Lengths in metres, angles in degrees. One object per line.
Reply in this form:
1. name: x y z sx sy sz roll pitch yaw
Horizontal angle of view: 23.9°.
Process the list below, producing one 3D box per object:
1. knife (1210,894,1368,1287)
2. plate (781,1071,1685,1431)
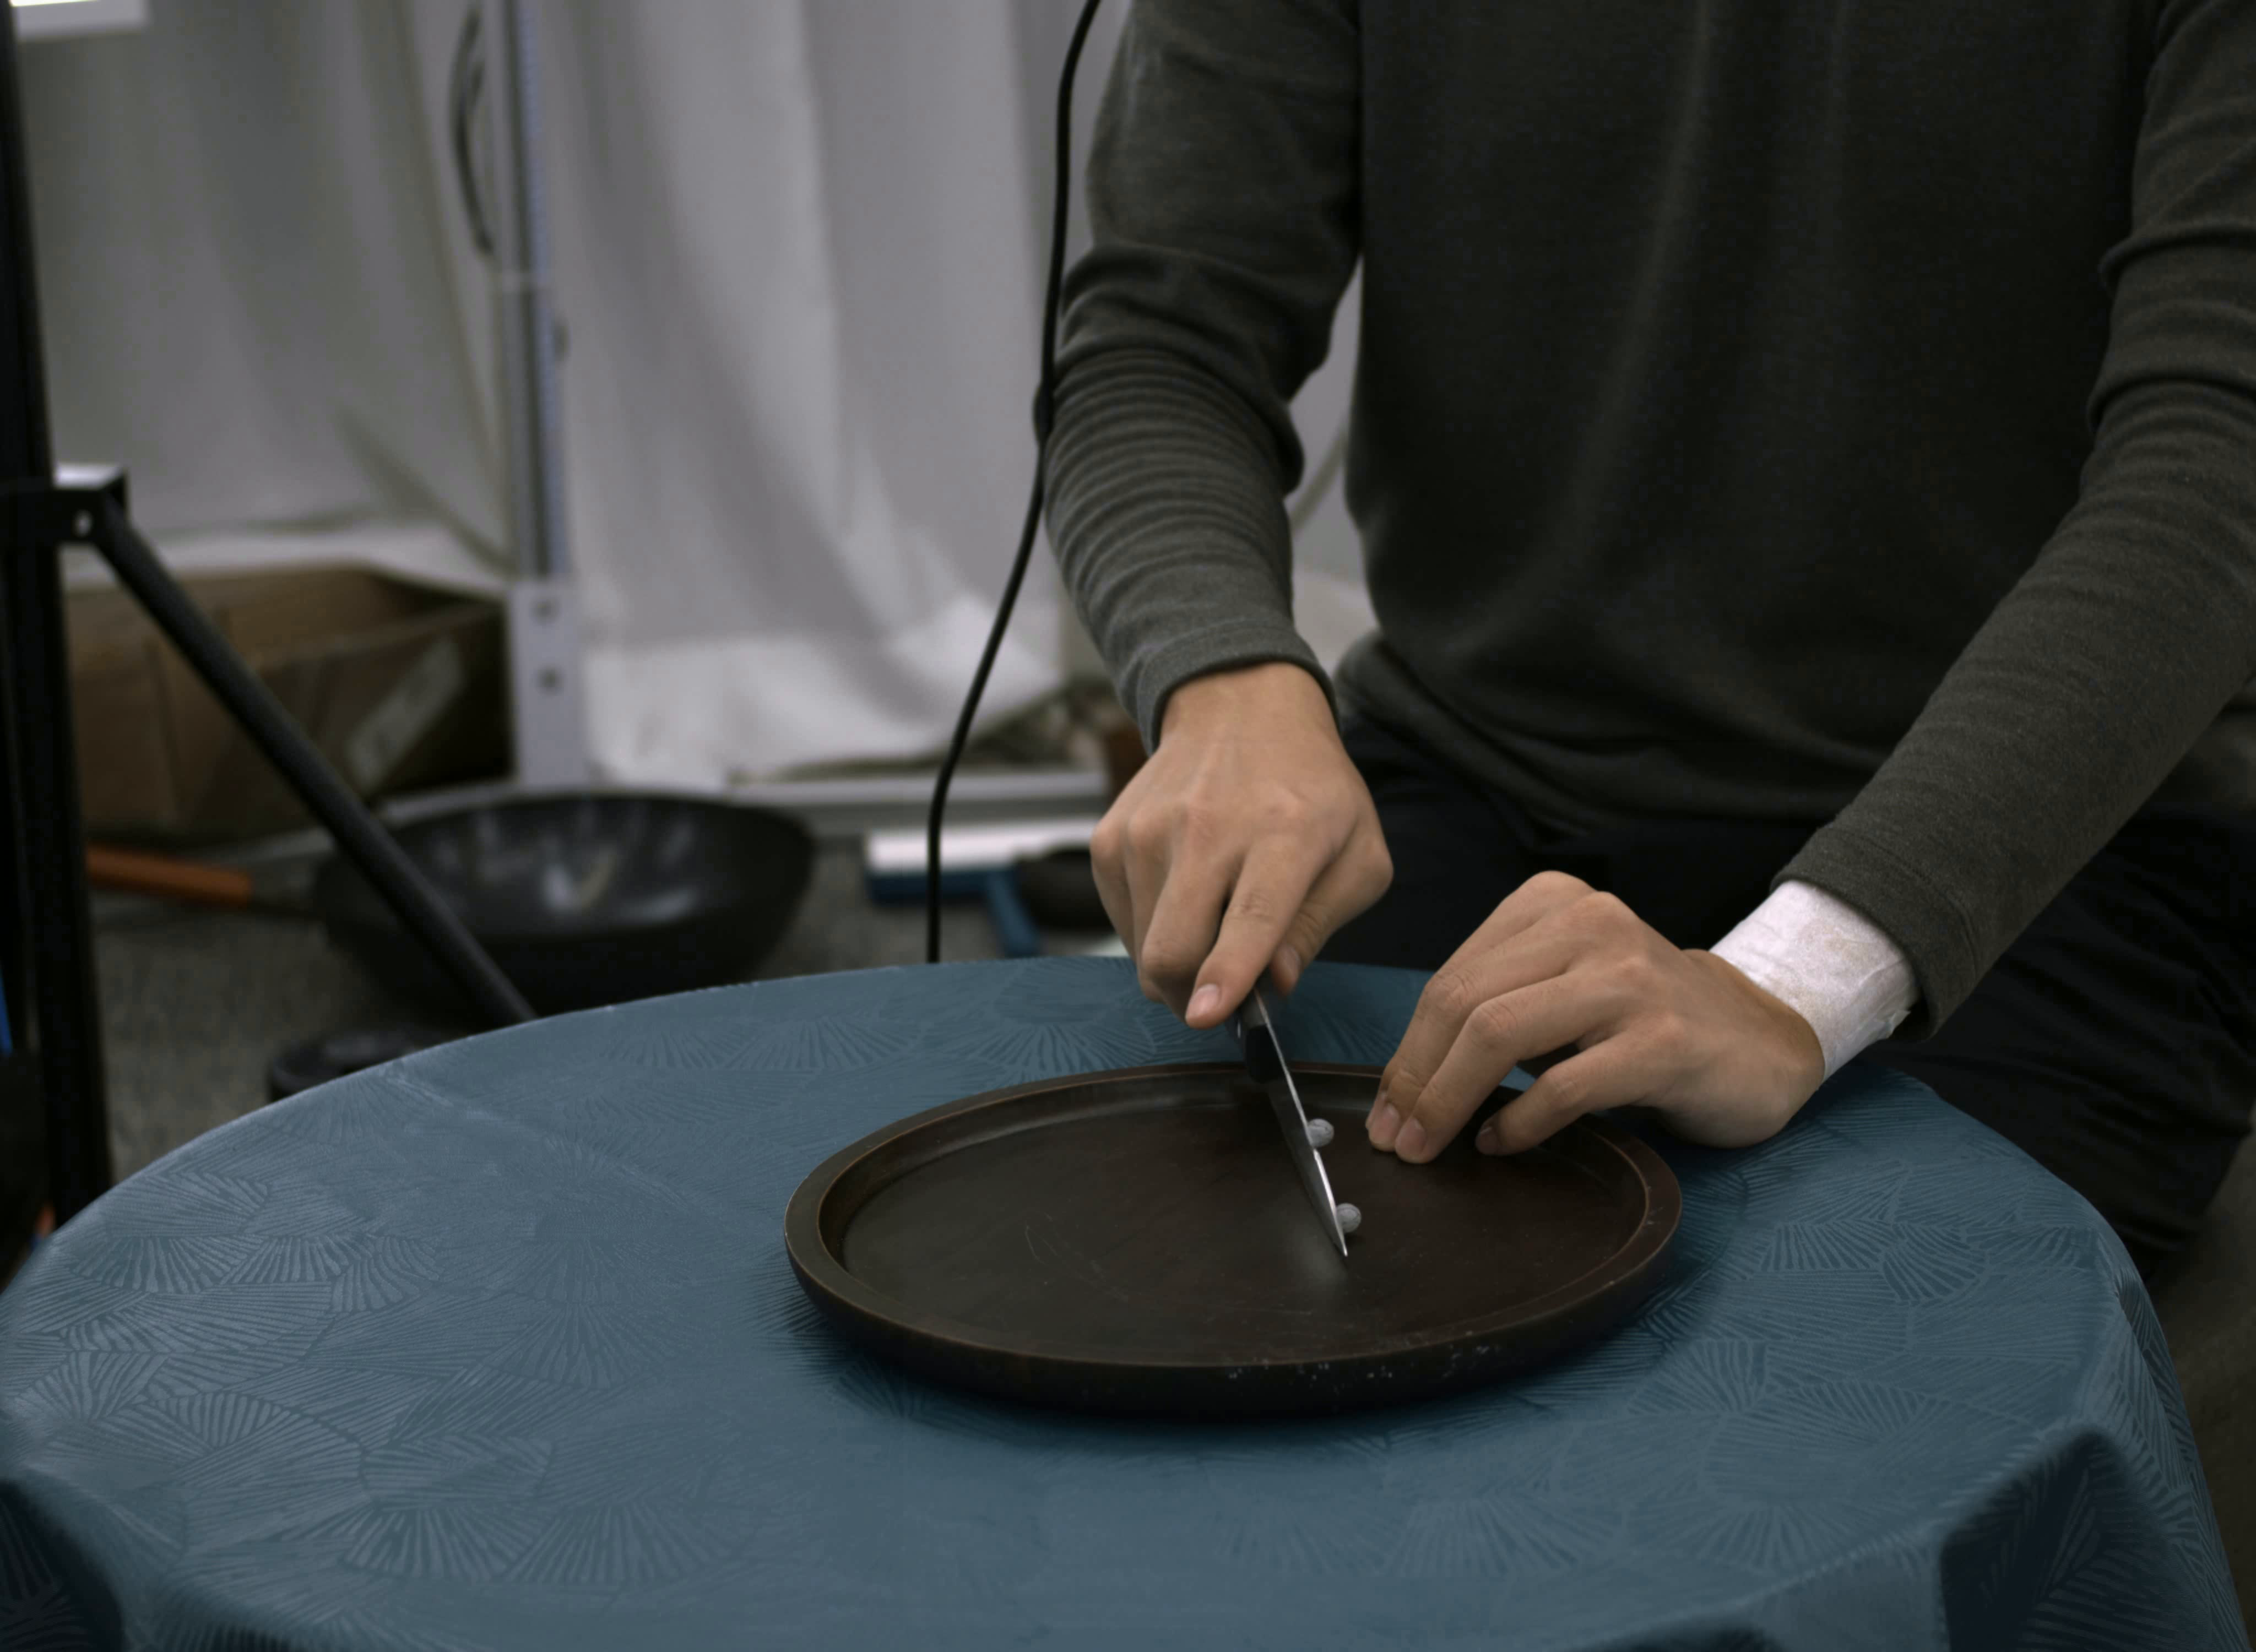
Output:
1. knife: 0.049 0.073 1.544 0.016 0.024 0.241 2 23 -10
2. plate: 0.029 0.116 1.489 0.253 0.029 0.256 -3 17 -1
